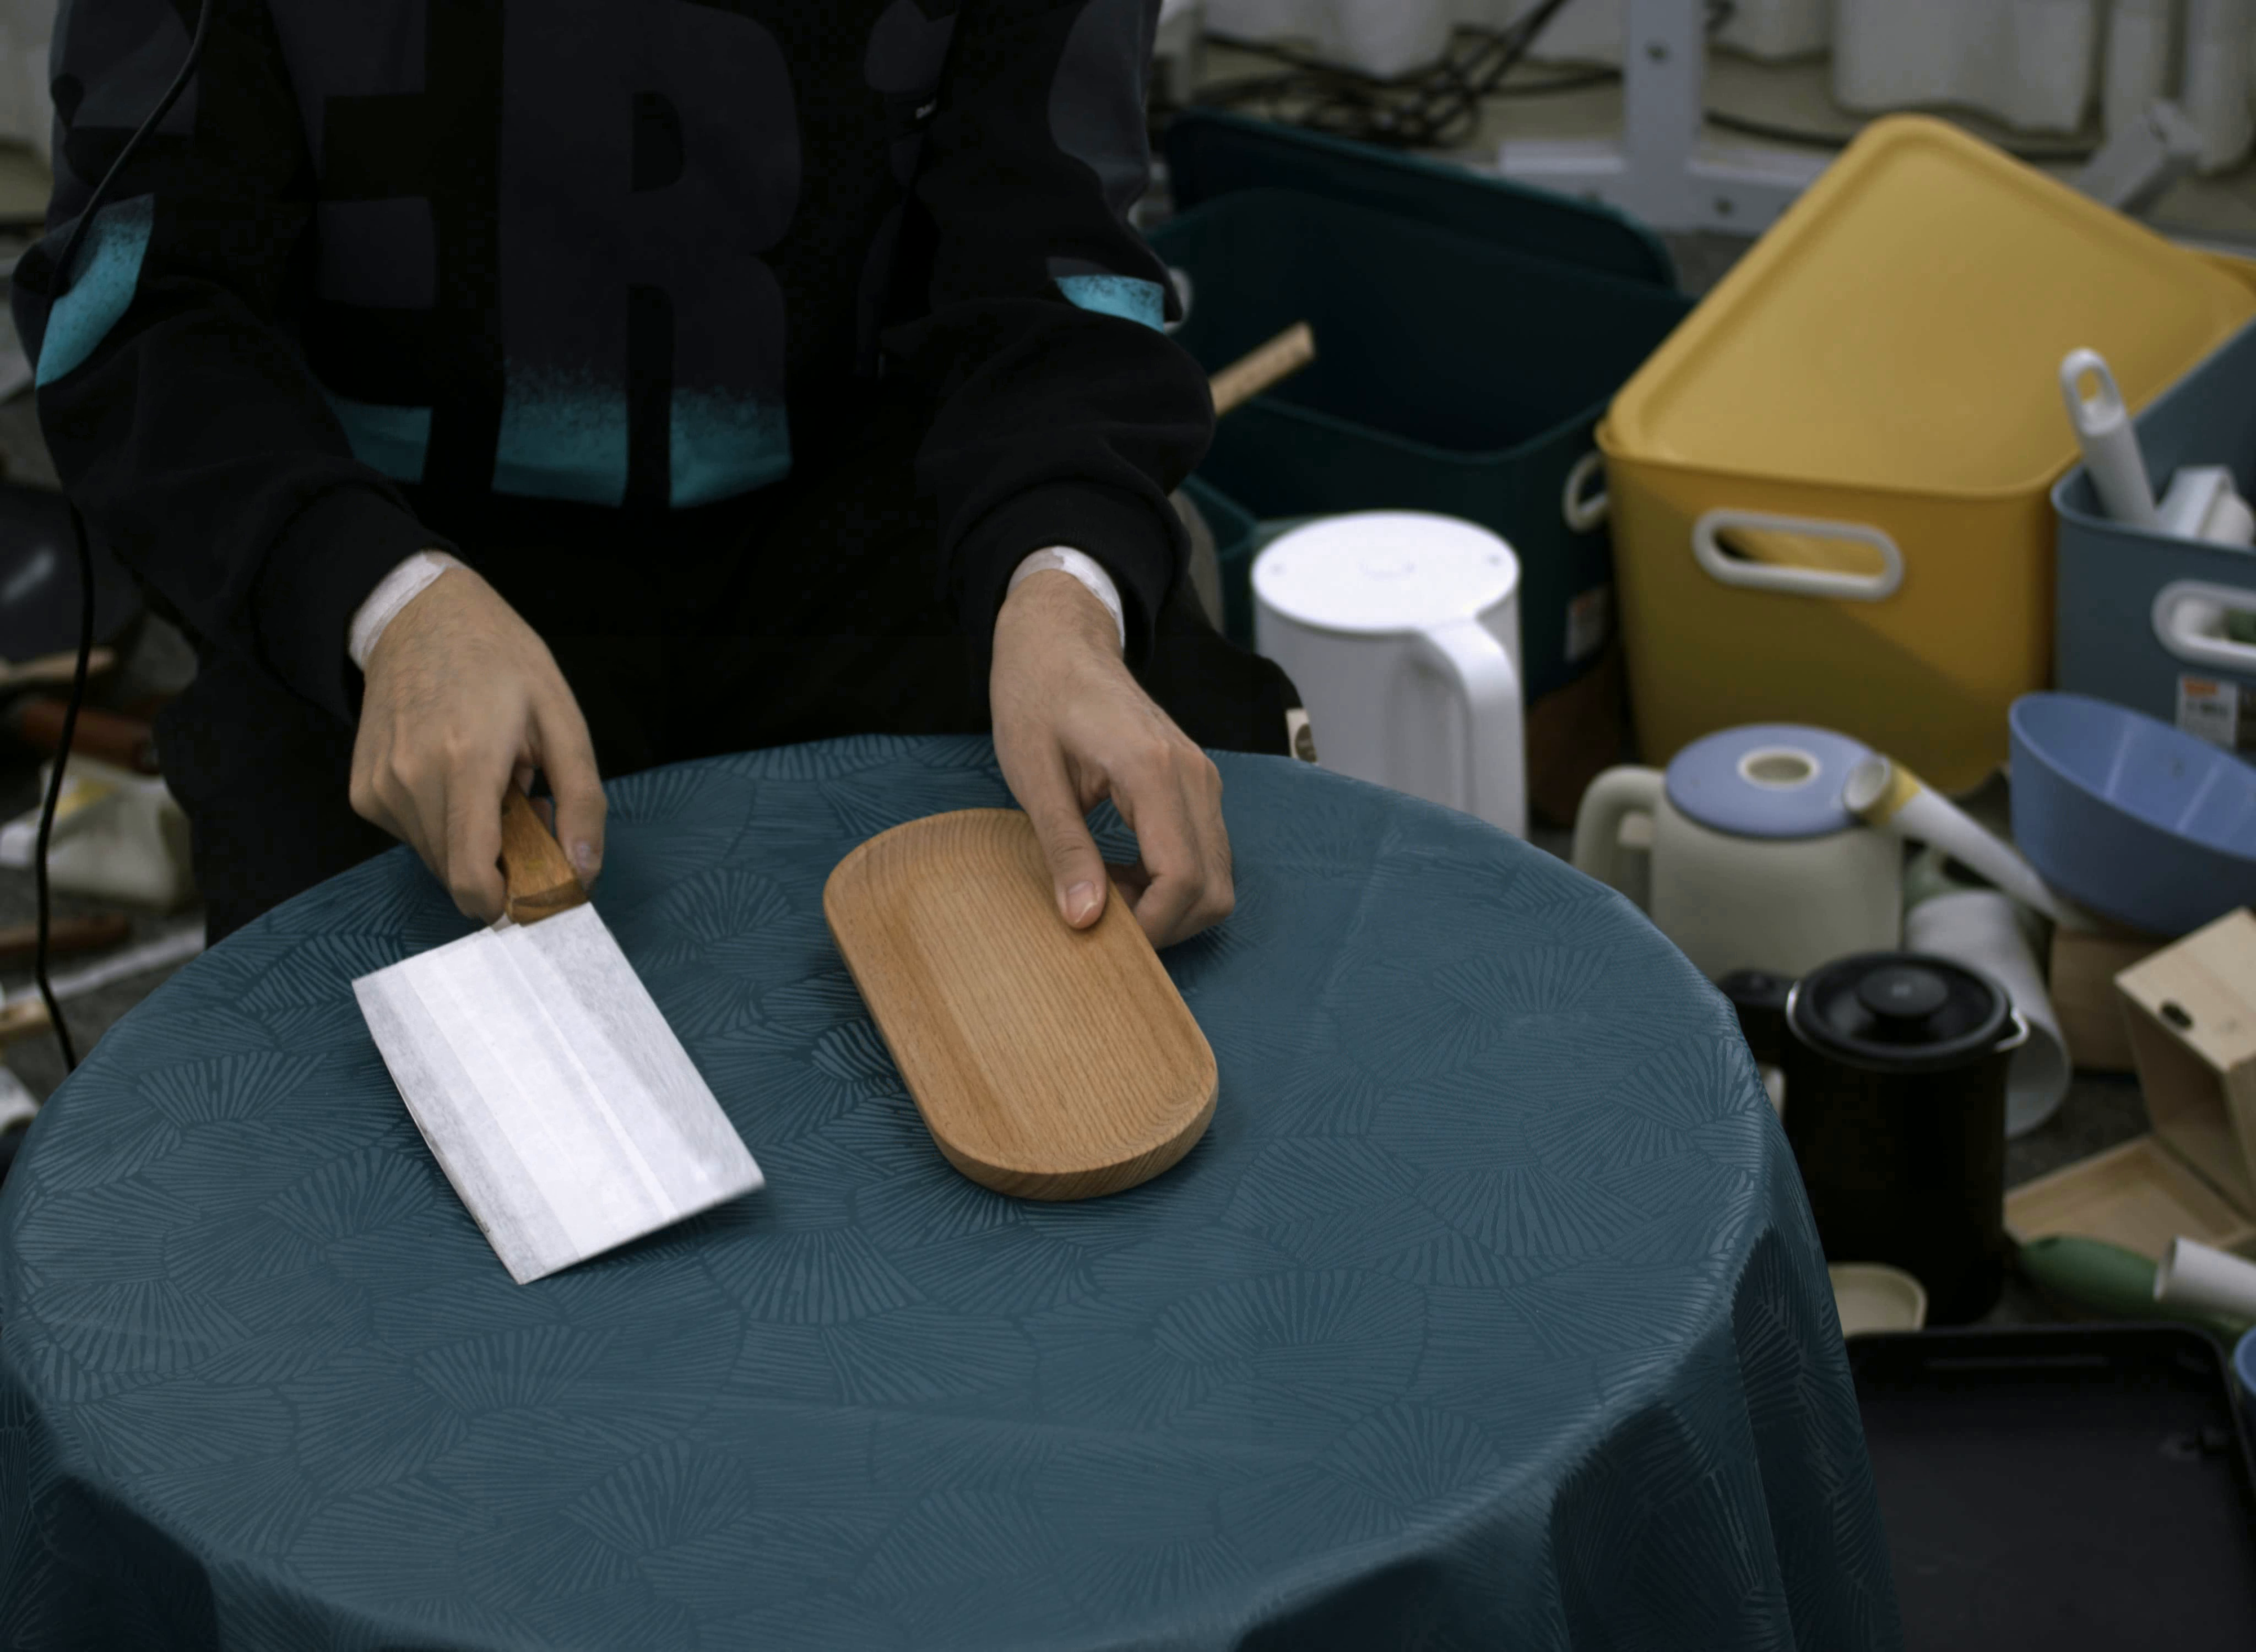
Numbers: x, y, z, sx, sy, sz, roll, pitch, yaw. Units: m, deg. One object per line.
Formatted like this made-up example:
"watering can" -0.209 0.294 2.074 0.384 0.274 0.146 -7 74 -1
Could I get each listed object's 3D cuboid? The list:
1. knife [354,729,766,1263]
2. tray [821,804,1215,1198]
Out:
"knife" -0.217 0.058 1.957 0.093 0.021 0.309 -20 37 -15
"tray" -0.040 0.058 1.951 0.102 0.020 0.234 -13 32 -12
